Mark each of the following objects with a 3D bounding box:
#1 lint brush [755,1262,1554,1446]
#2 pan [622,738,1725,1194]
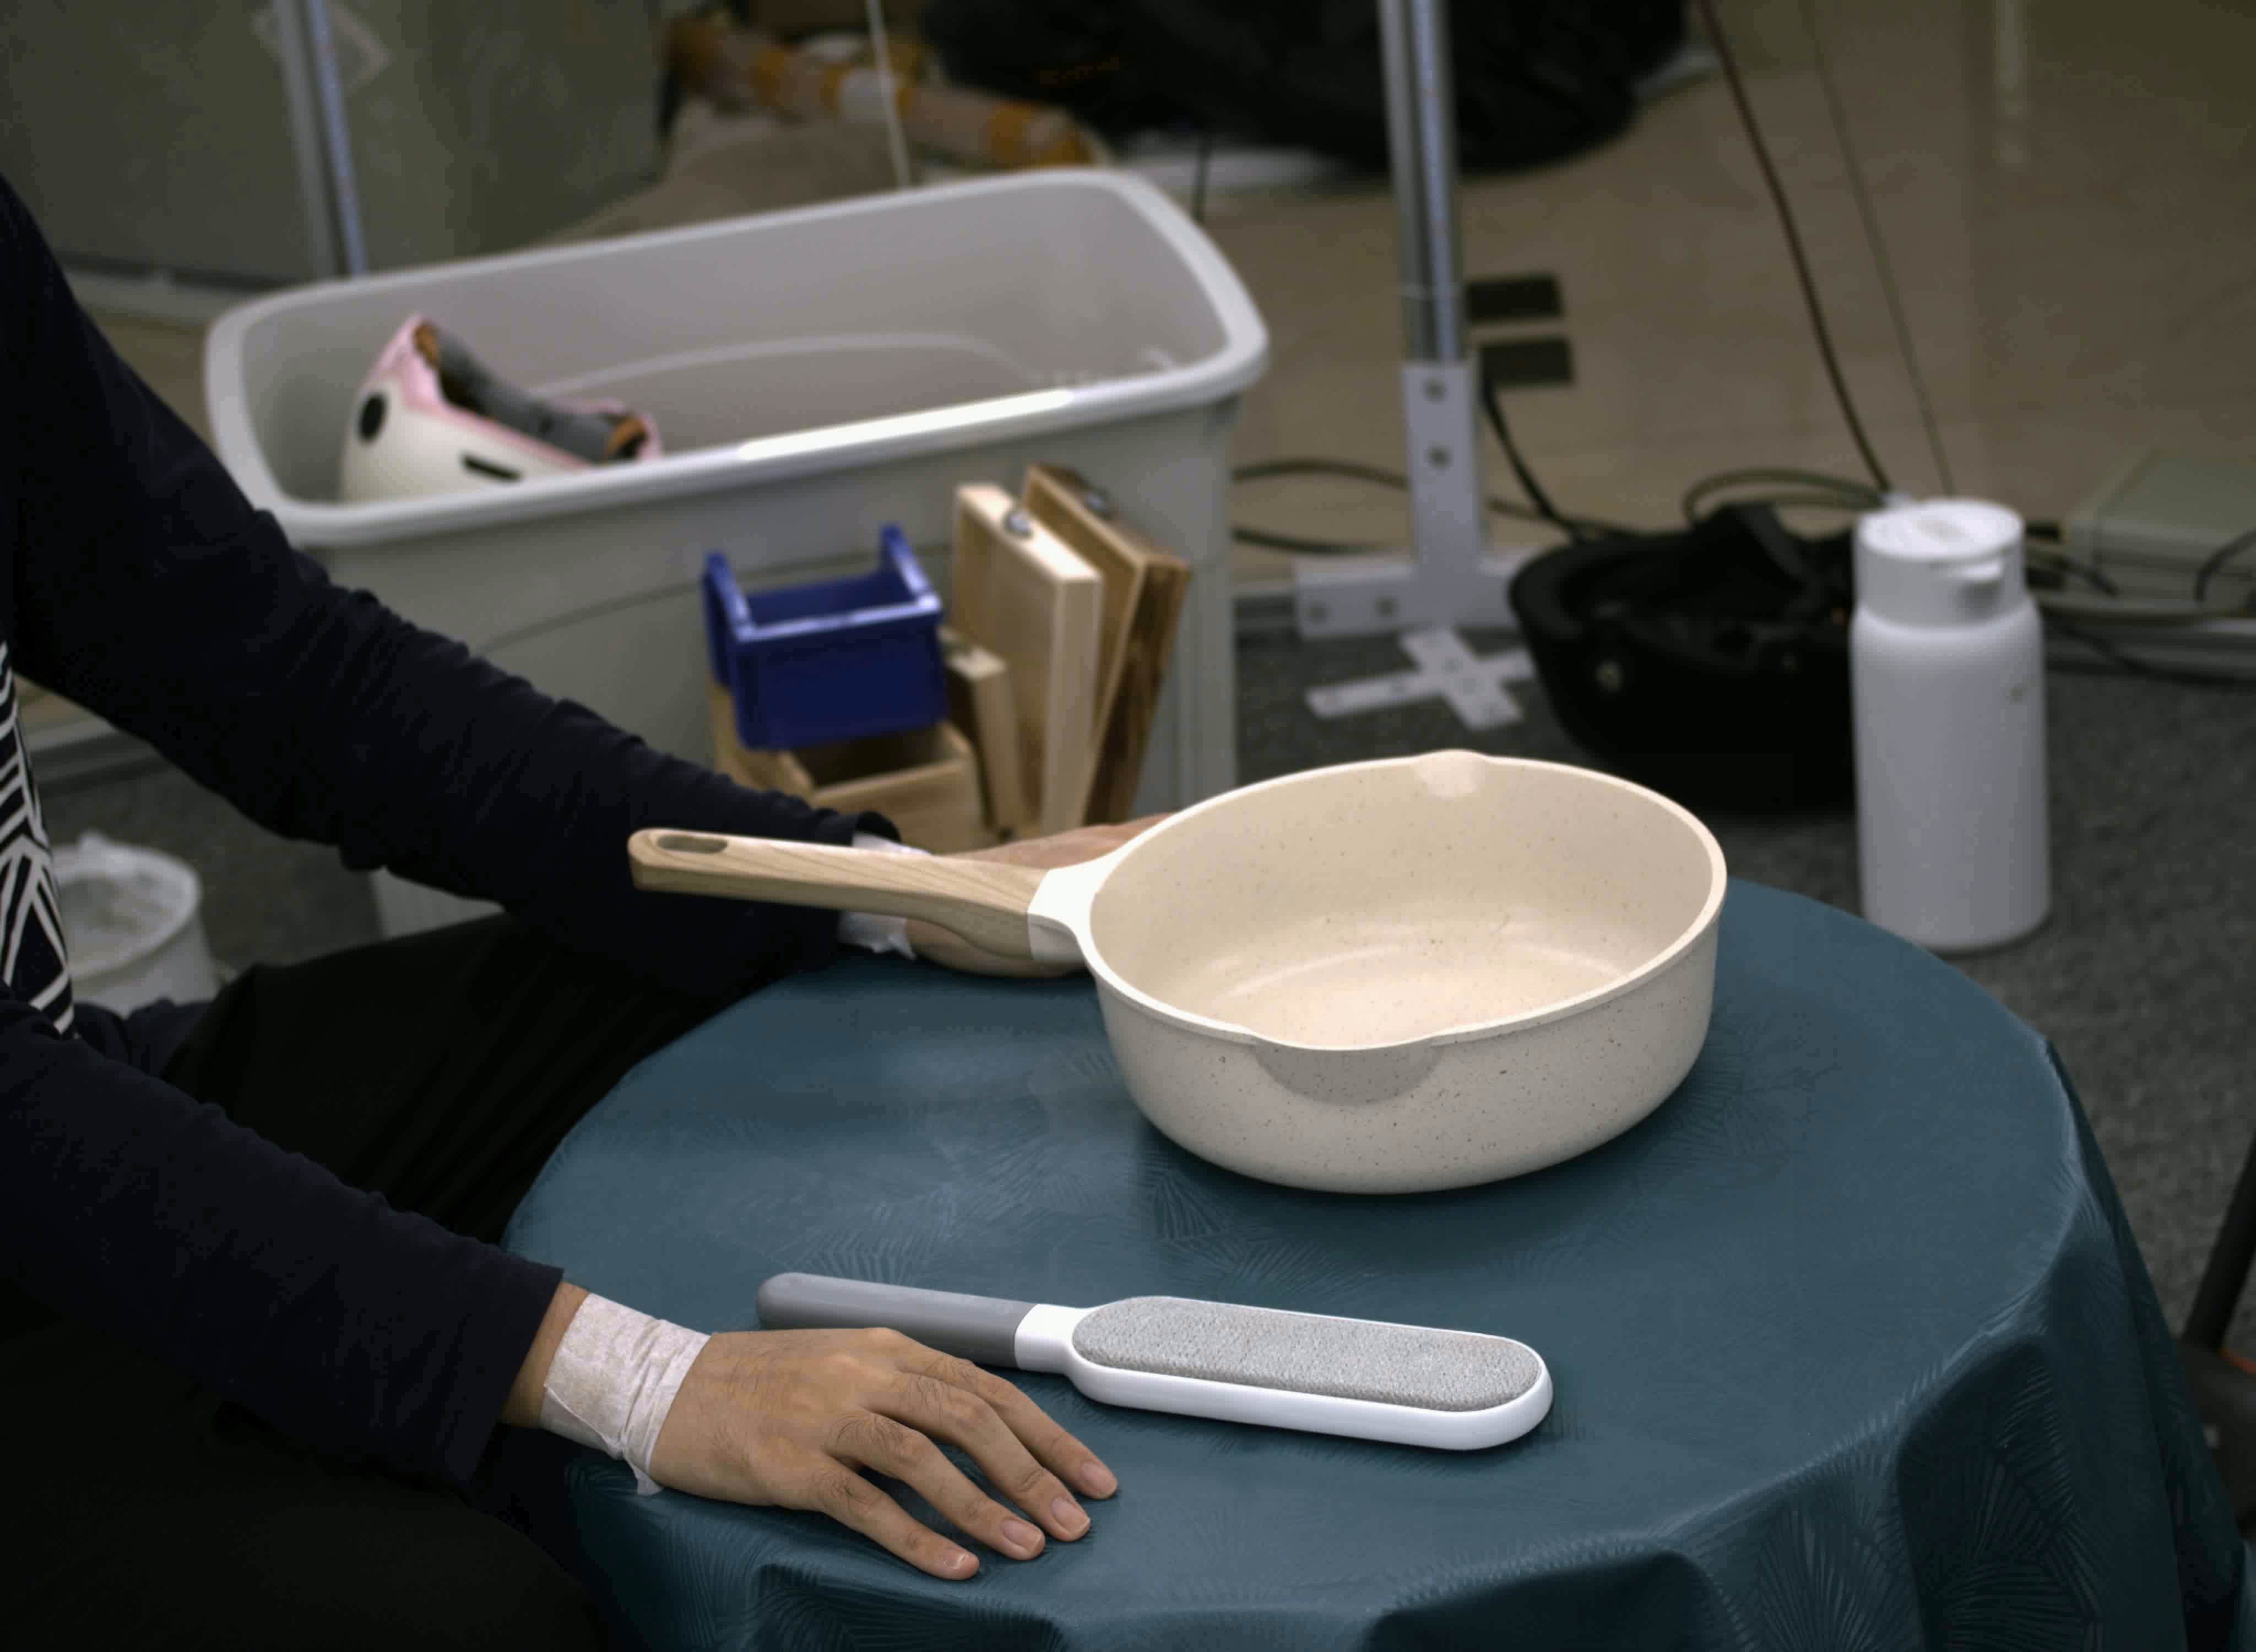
[{"bbox_3d":[0.004,0.183,2.022,0.308,0.021,0.059,5,32,24],"label":"lint brush"},{"bbox_3d":[0.018,0.053,2.215,0.434,0.104,0.259,0,28,13],"label":"pan"}]
